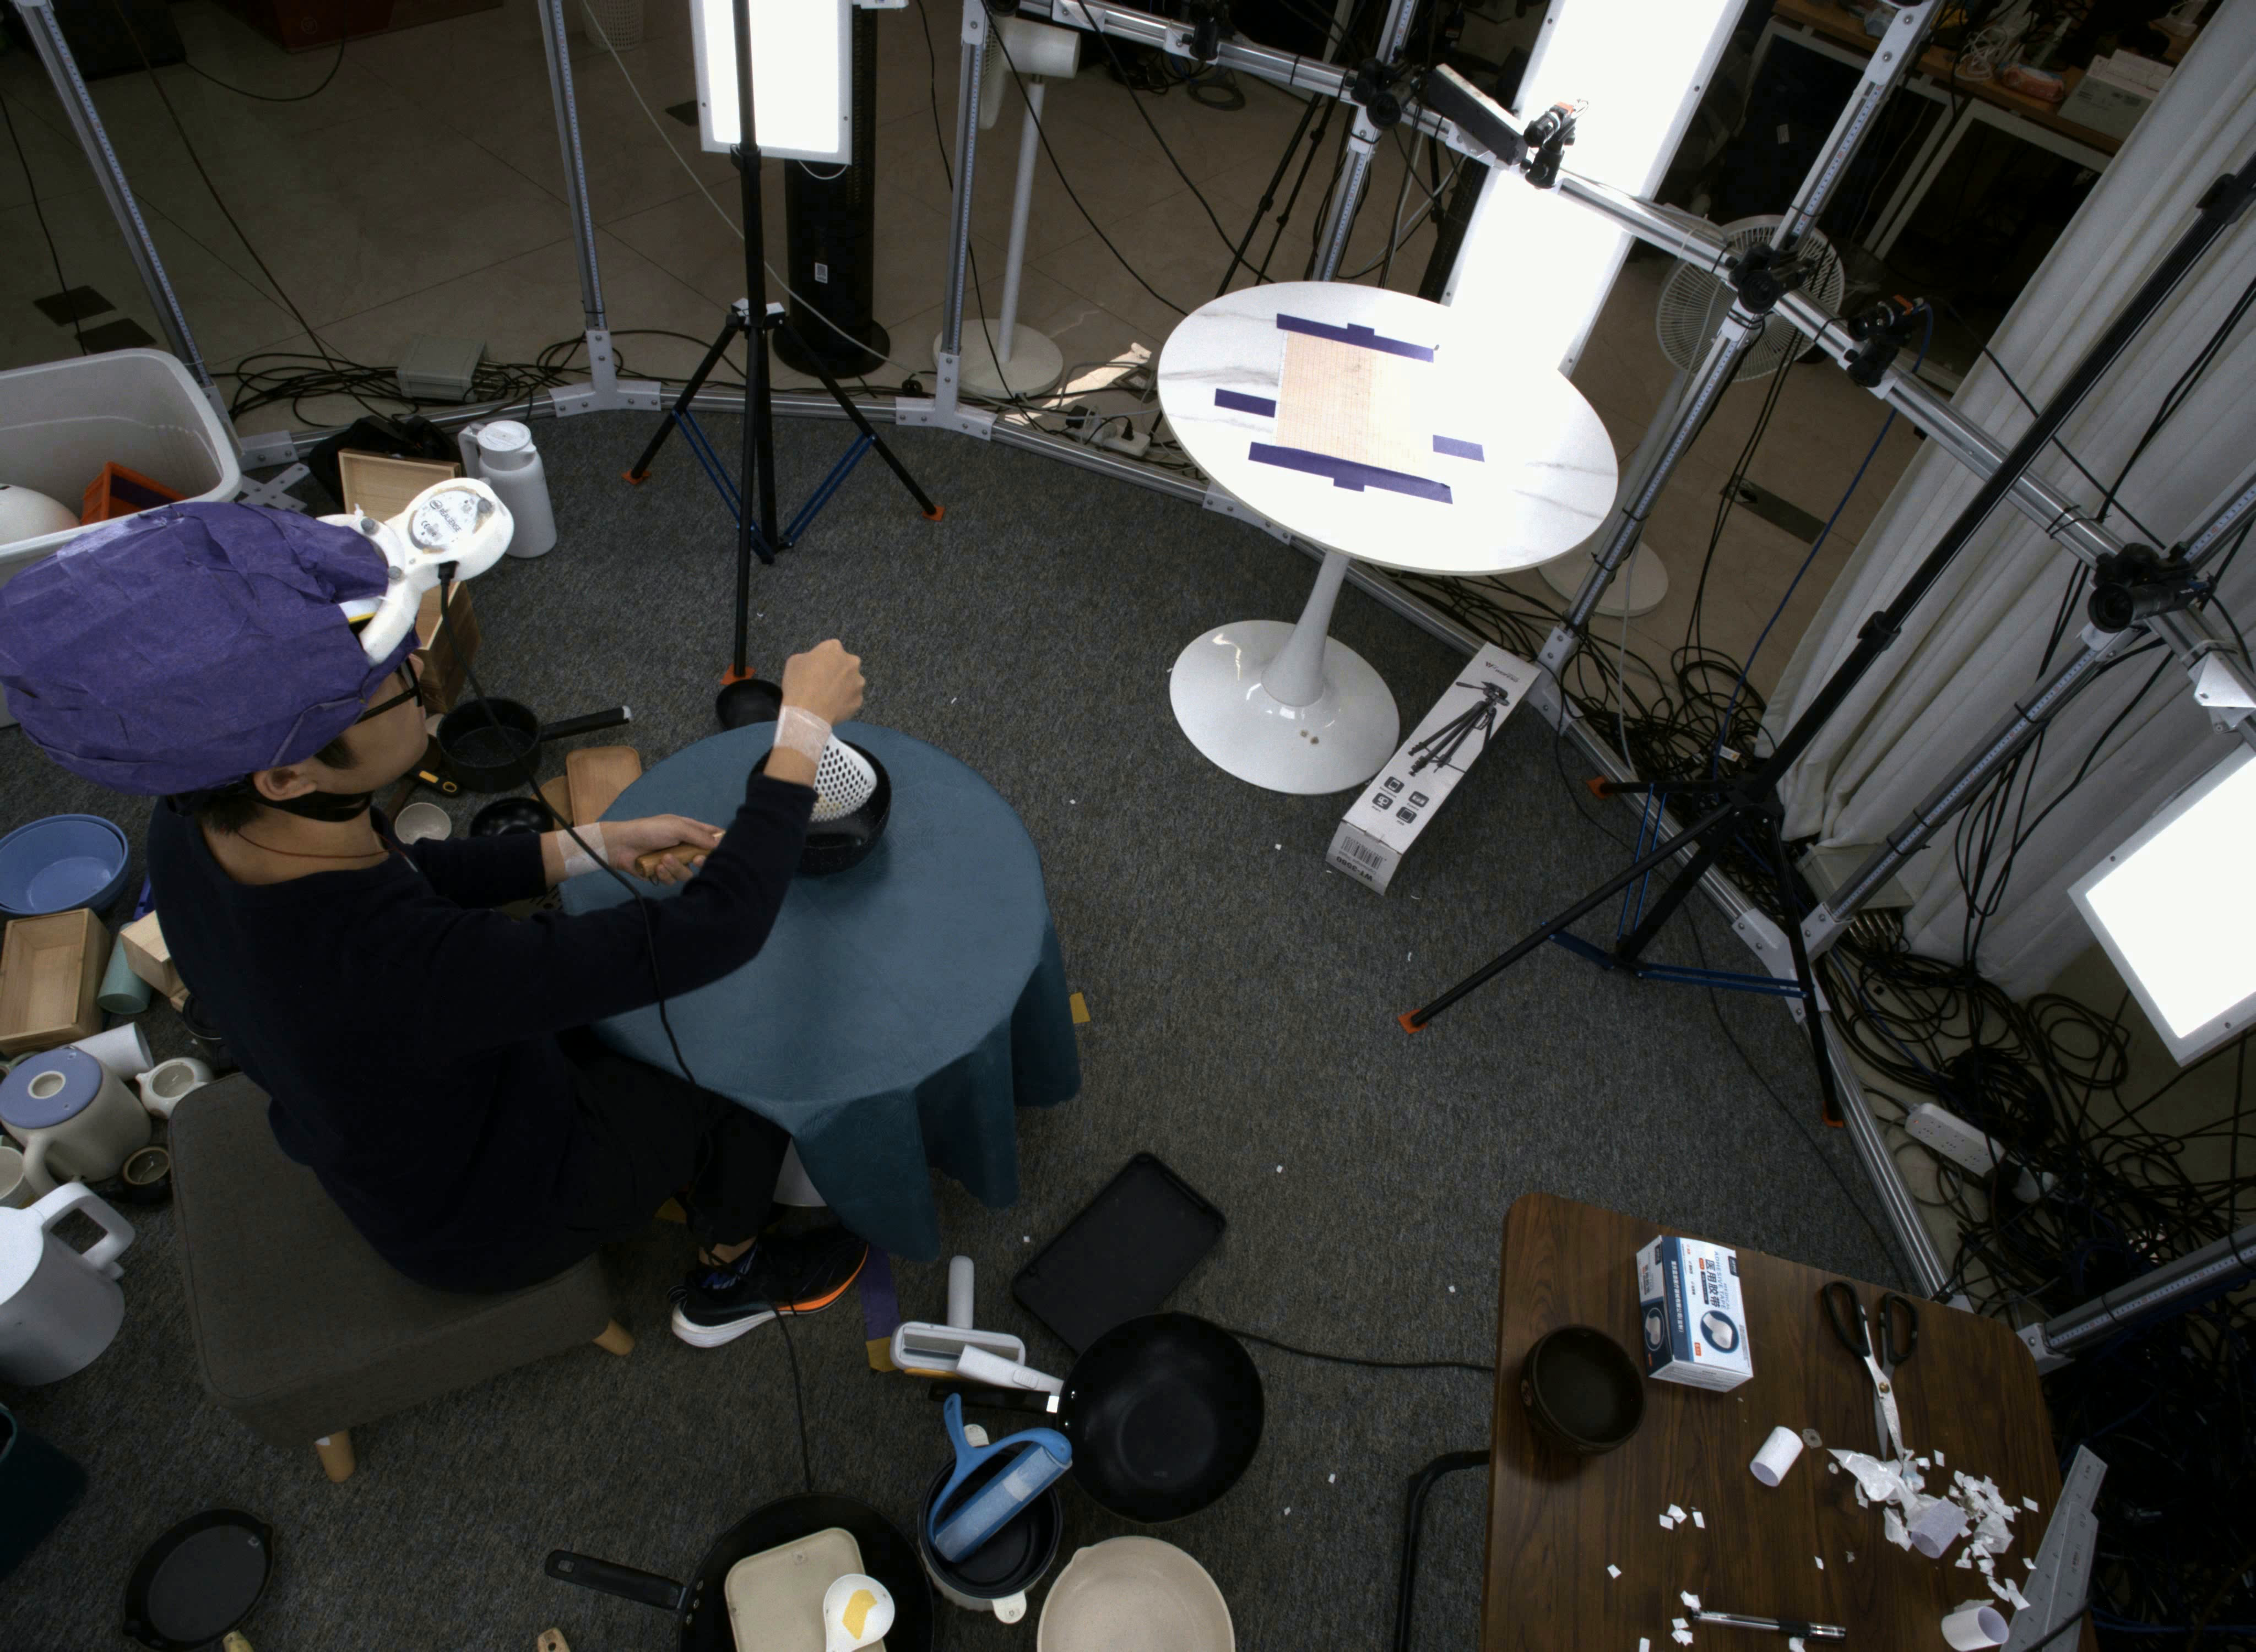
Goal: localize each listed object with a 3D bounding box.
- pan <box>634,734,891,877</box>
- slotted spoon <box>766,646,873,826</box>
[{"bbox_3d":[-0.459,0.006,1.631,0.344,0.110,0.203,-30,67,-33],"label":"pan"},{"bbox_3d":[-0.371,-0.102,1.556,0.137,0.356,0.049,-10,54,-18],"label":"slotted spoon"}]
